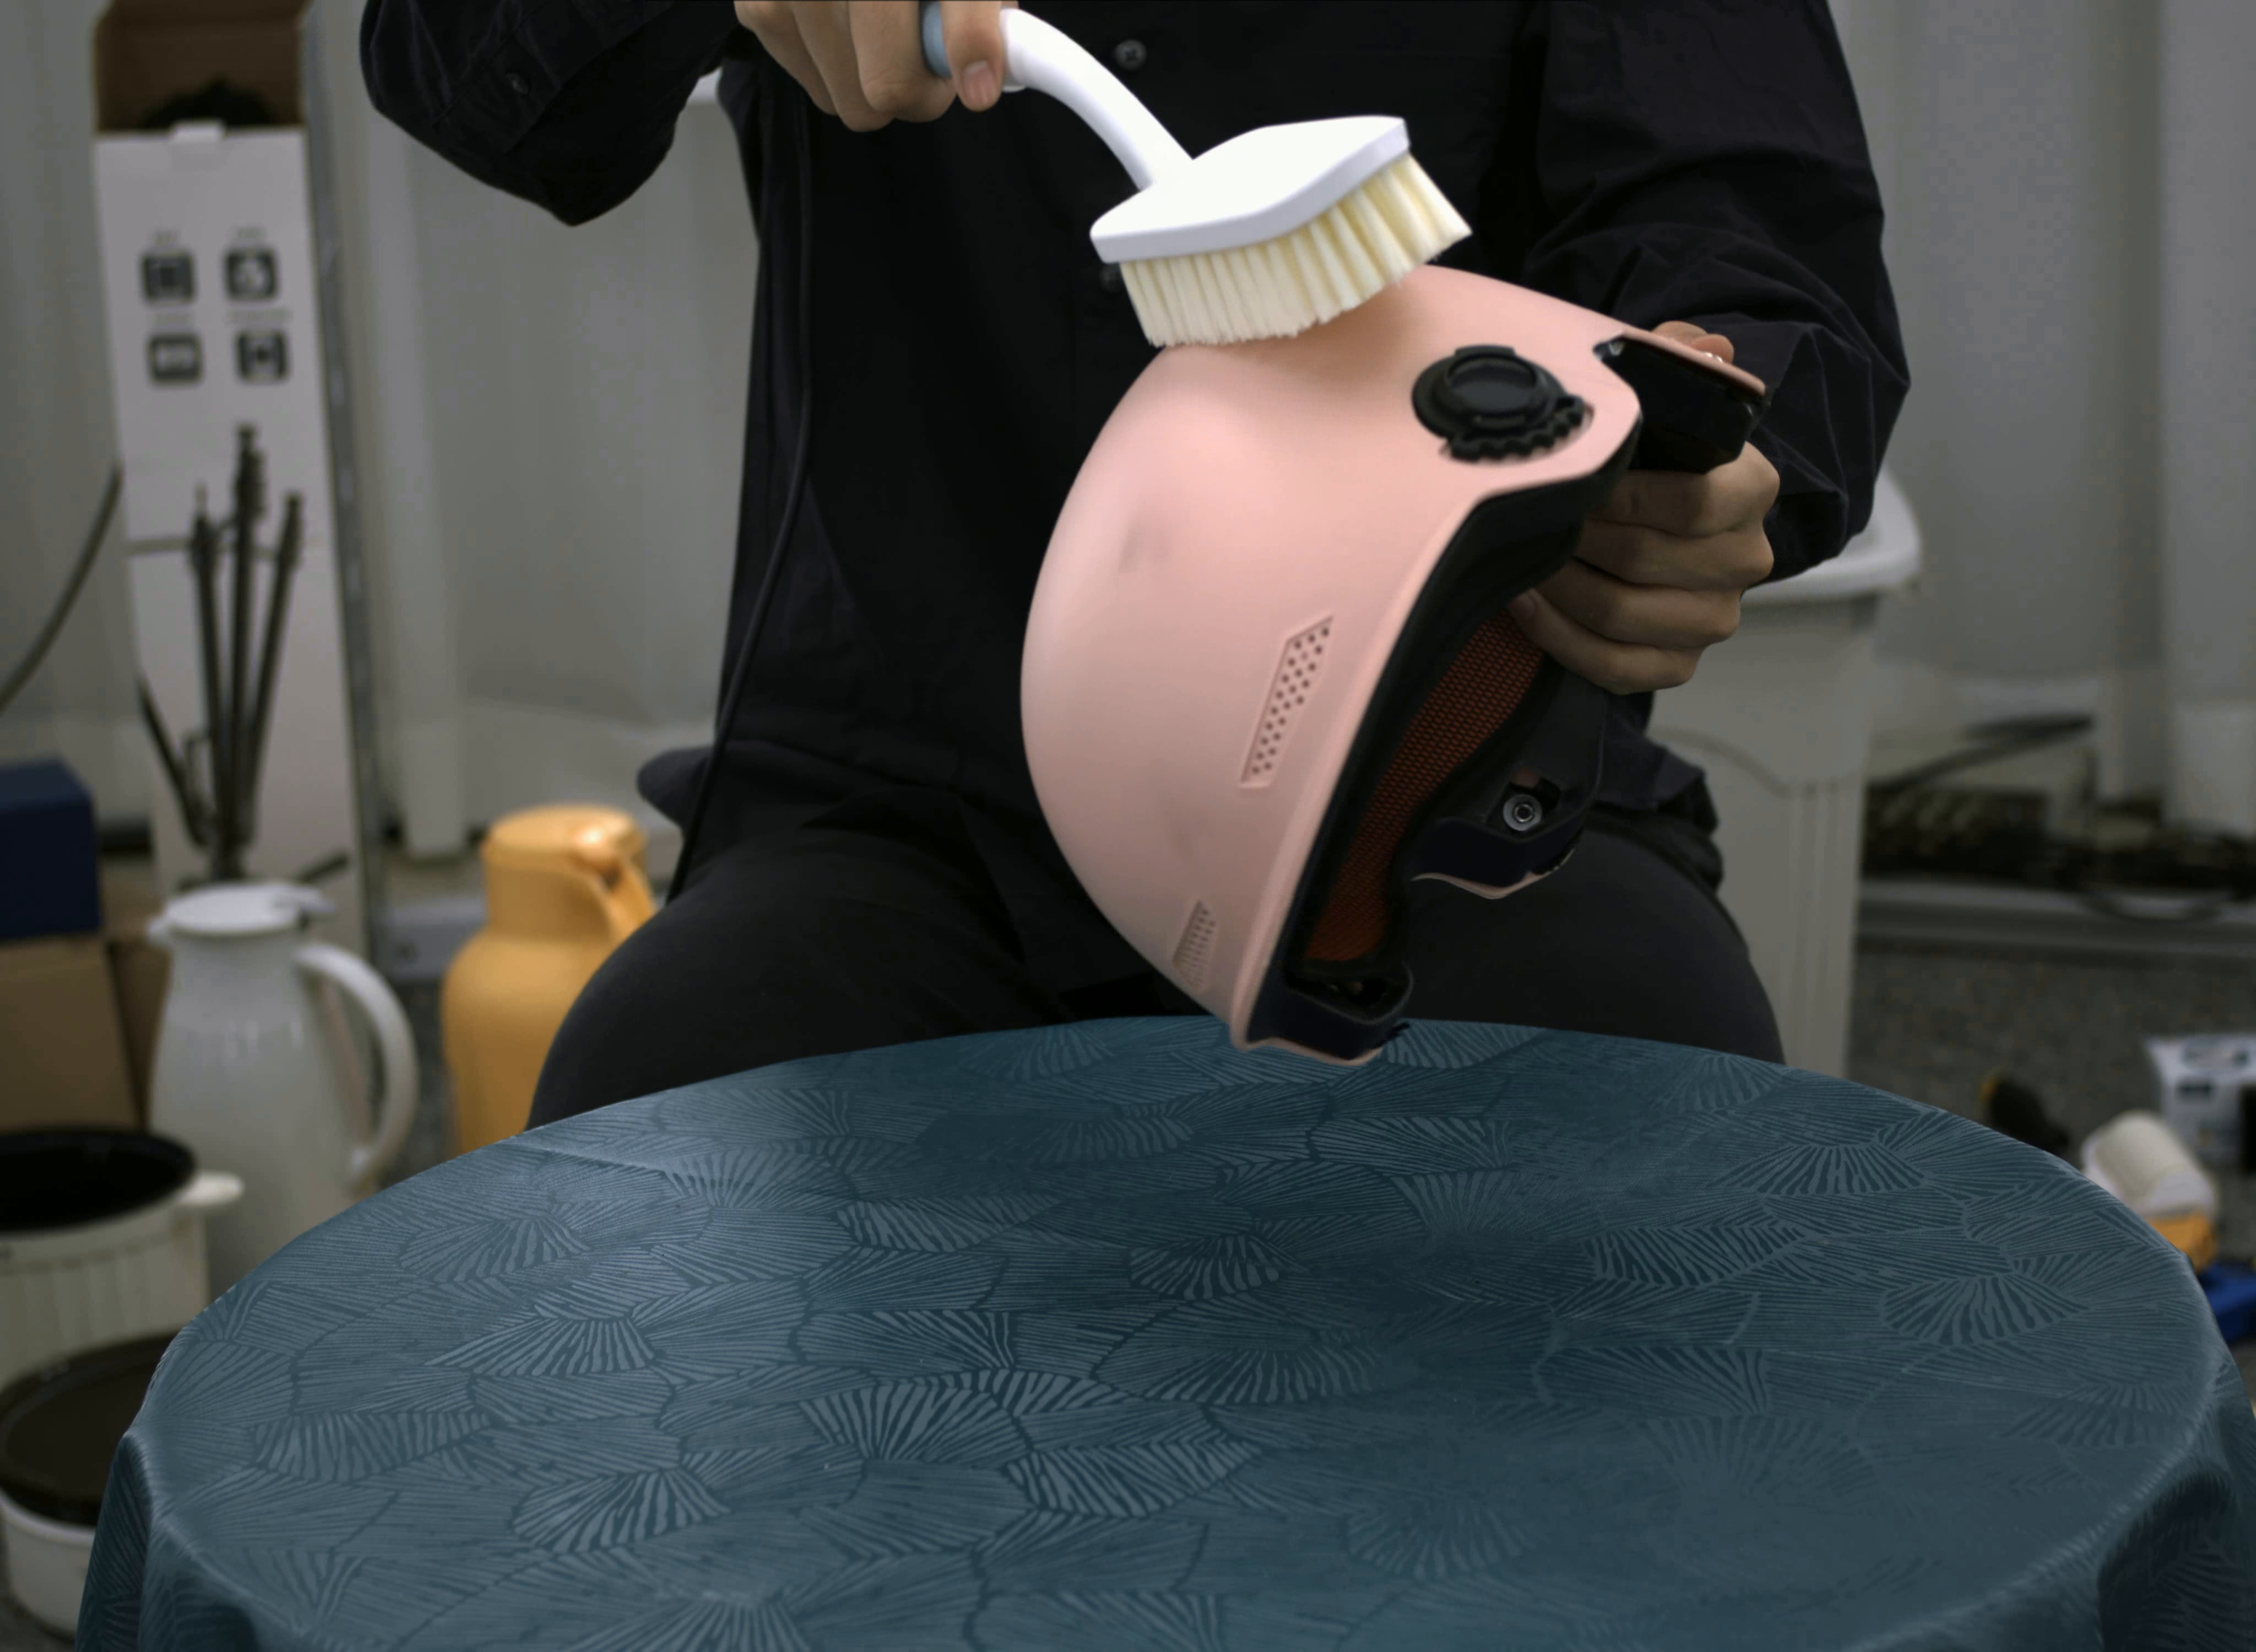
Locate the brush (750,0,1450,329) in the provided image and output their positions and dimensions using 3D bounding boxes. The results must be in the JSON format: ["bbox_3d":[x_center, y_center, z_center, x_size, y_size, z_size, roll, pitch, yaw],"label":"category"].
[{"bbox_3d":[-0.009,-0.194,1.623,0.082,0.084,0.328,8,7,-36],"label":"brush"}]

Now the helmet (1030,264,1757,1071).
[{"bbox_3d":[0.054,-0.061,1.593,0.159,0.232,0.267,29,34,14],"label":"helmet"}]
